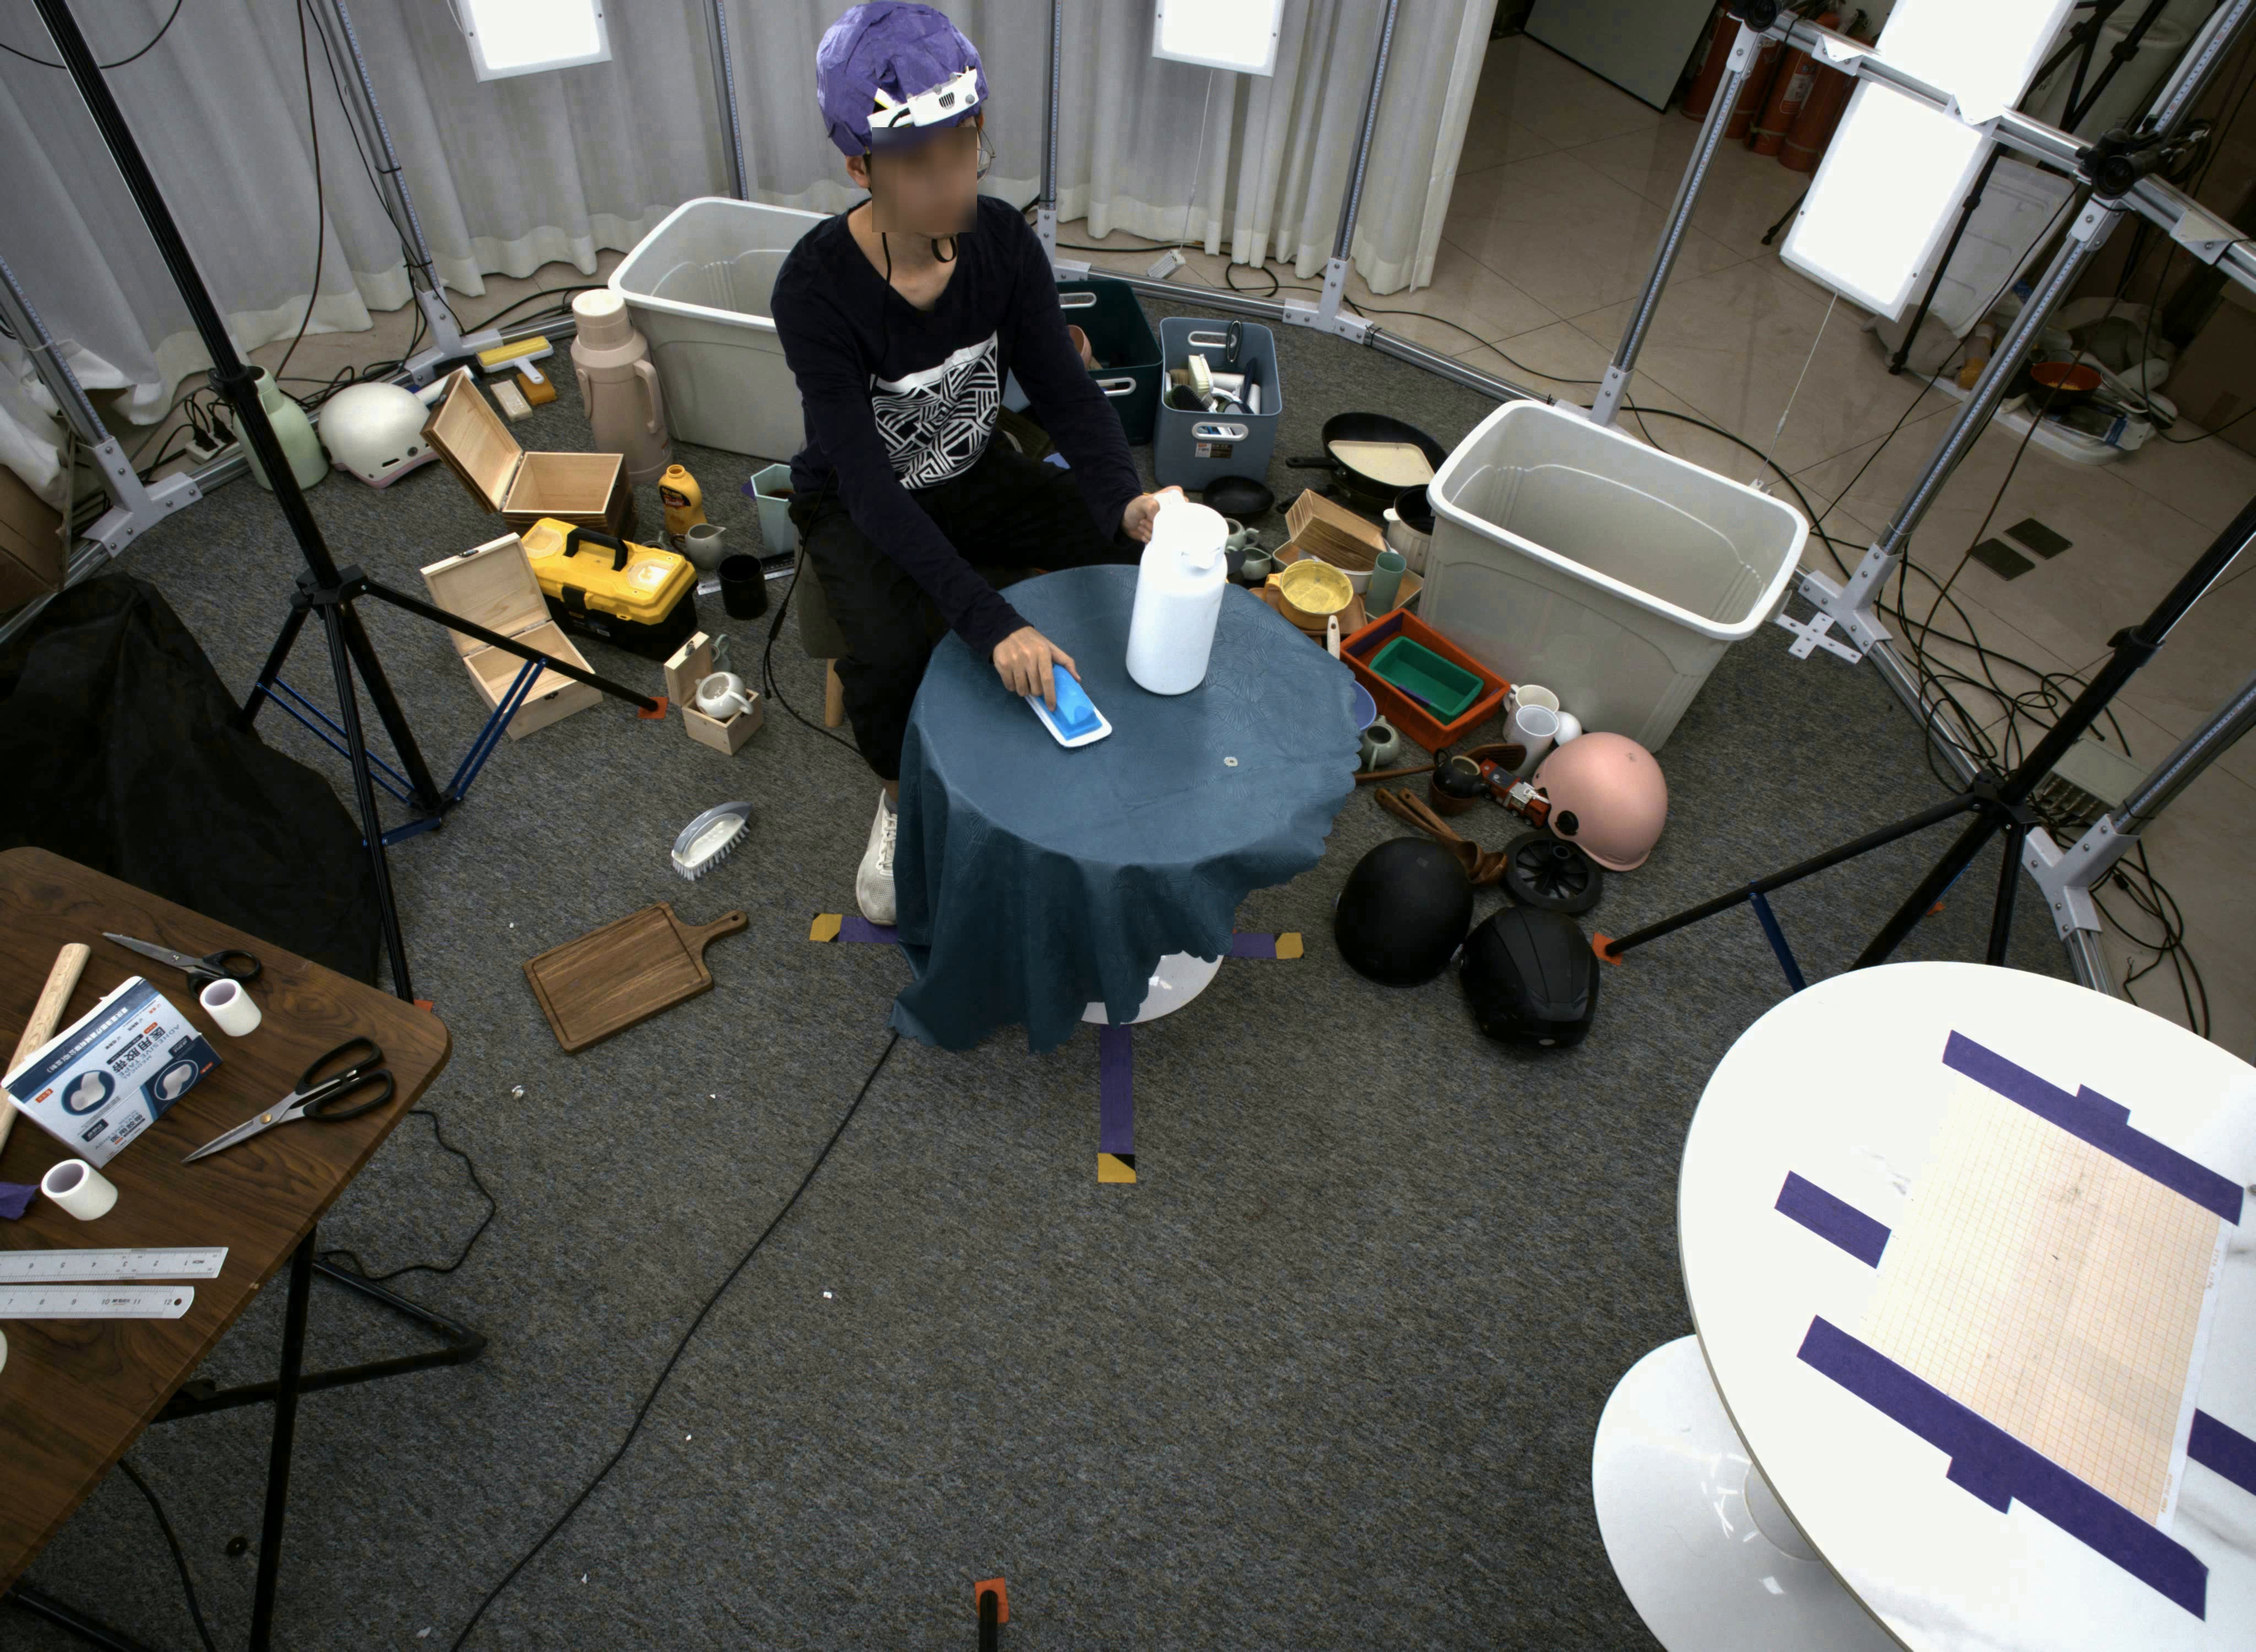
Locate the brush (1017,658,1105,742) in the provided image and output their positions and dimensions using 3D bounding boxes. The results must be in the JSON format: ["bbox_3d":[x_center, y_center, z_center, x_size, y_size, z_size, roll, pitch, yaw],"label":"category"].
[{"bbox_3d":[-0.091,-0.182,1.779,0.084,0.054,0.147,-18,55,-23],"label":"brush"}]

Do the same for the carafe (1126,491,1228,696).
[{"bbox_3d":[0.061,-0.322,1.775,0.124,0.262,0.177,-13,54,-15],"label":"carafe"}]
